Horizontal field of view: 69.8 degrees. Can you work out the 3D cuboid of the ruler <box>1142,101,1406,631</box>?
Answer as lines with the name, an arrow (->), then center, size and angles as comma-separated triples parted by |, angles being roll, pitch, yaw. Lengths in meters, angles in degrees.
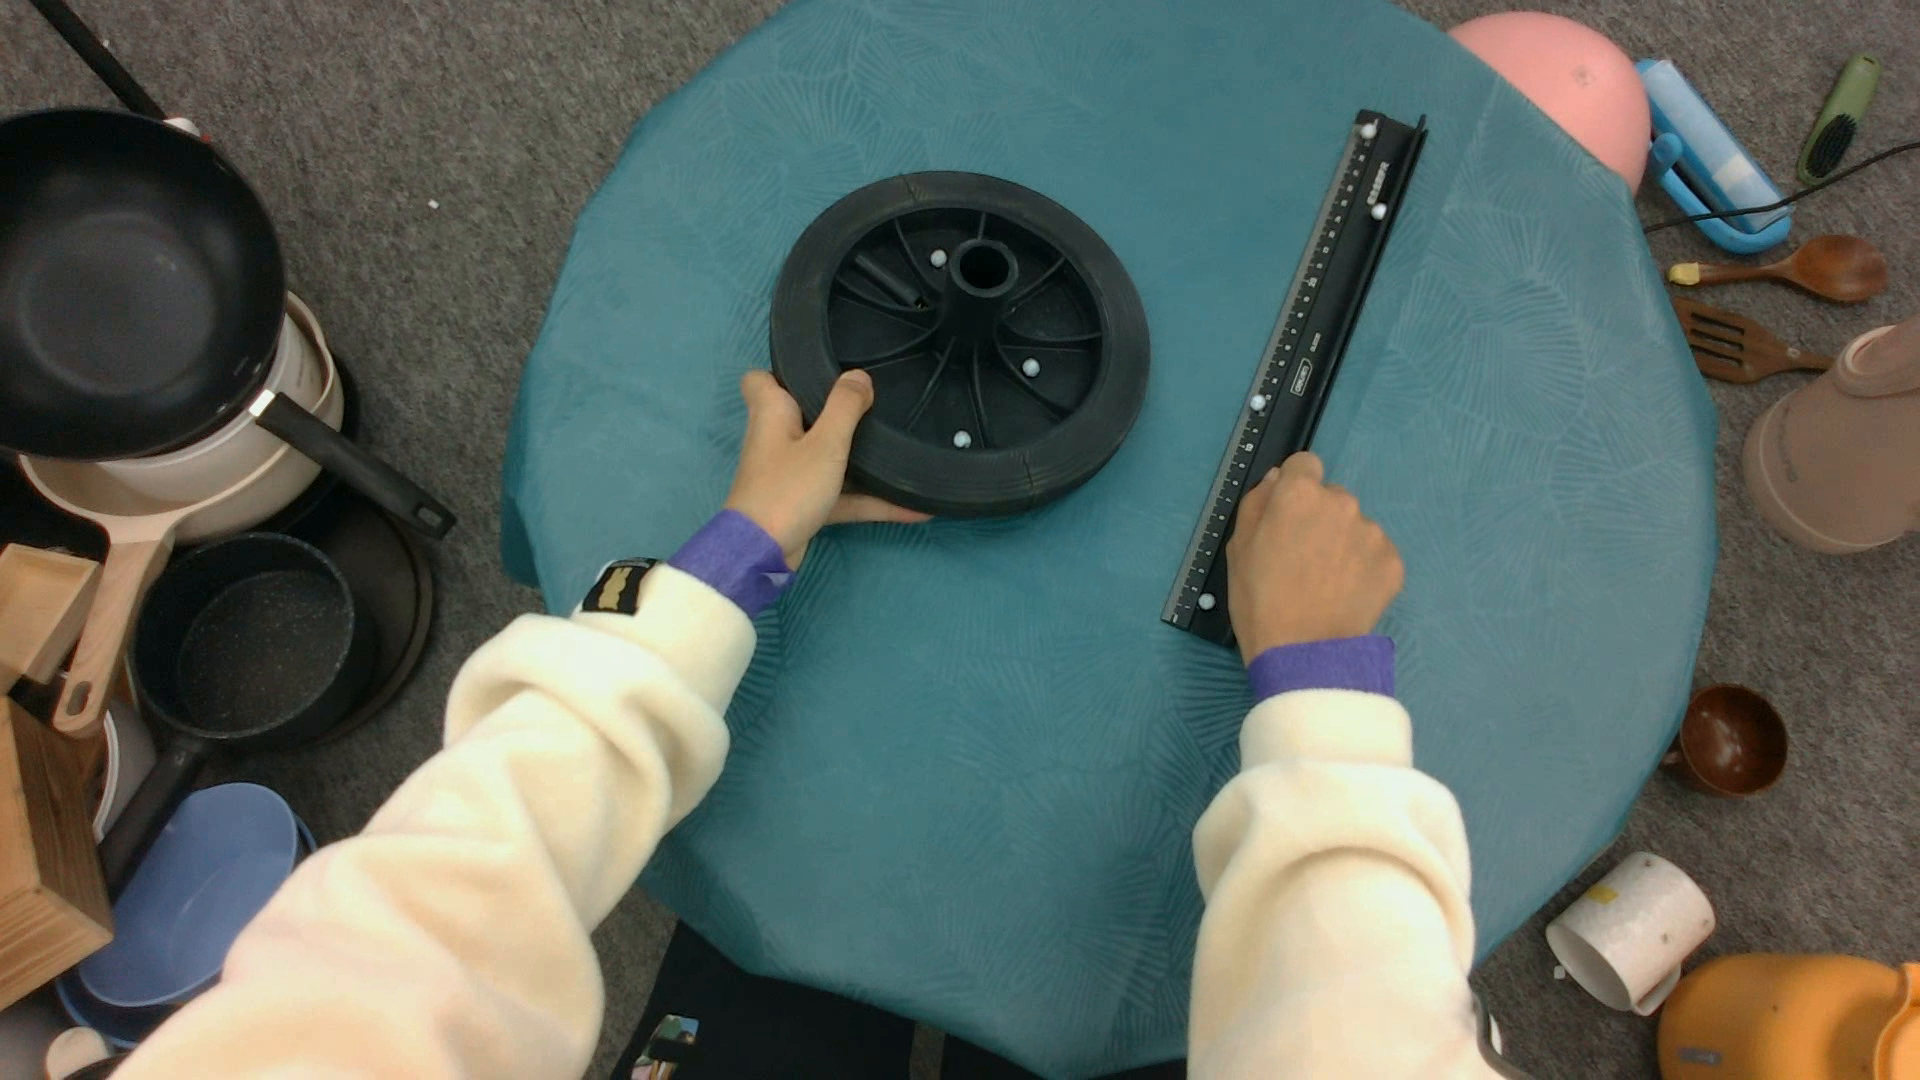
ruler -> 0.166, -0.101, 0.703 | 0.039, 0.017, 0.313 | 23, 73, 6

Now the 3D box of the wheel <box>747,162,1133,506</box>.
wheel -> -0.005, -0.113, 0.657 | 0.190, 0.079, 0.188 | 18, 65, -2
